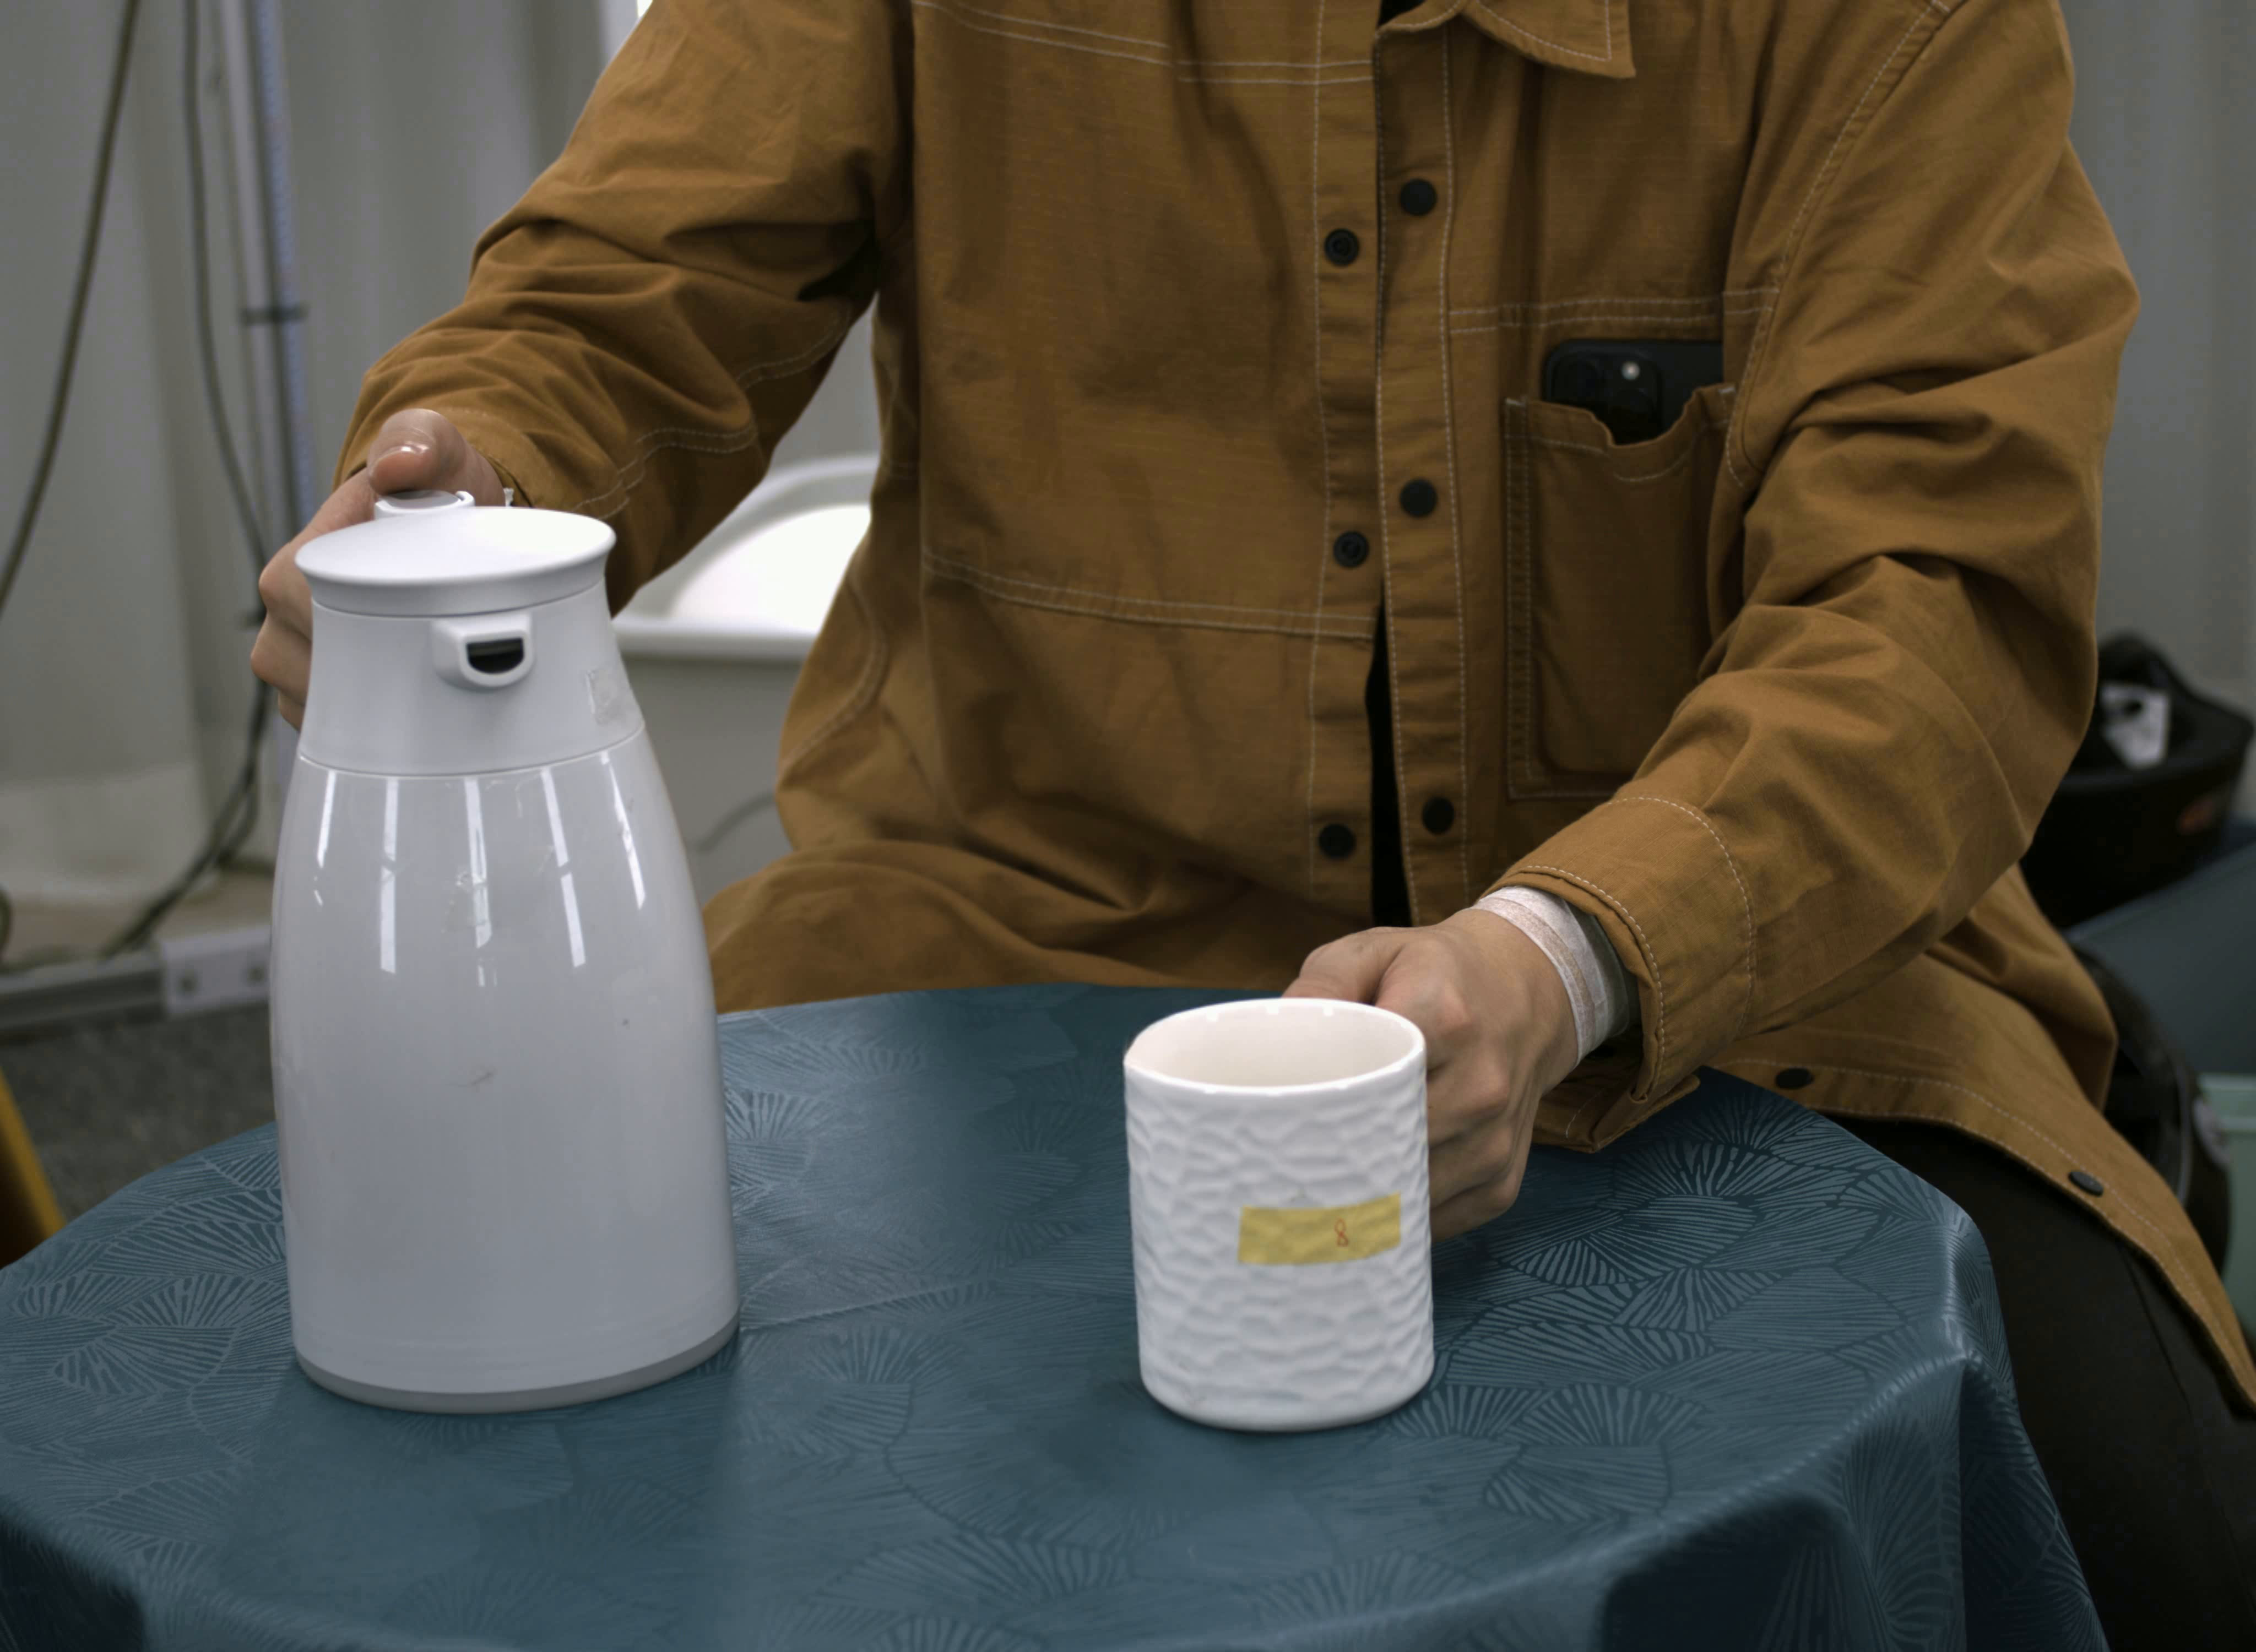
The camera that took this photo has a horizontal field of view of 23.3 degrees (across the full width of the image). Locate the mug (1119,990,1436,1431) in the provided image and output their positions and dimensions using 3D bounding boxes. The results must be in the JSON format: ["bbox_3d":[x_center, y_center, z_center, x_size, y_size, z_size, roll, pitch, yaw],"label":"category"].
[{"bbox_3d":[0.043,0.103,1.544,0.085,0.101,0.119,-2,16,4],"label":"mug"}]

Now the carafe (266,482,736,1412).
[{"bbox_3d":[-0.193,0.027,1.603,0.132,0.248,0.169,-7,14,-16],"label":"carafe"}]
